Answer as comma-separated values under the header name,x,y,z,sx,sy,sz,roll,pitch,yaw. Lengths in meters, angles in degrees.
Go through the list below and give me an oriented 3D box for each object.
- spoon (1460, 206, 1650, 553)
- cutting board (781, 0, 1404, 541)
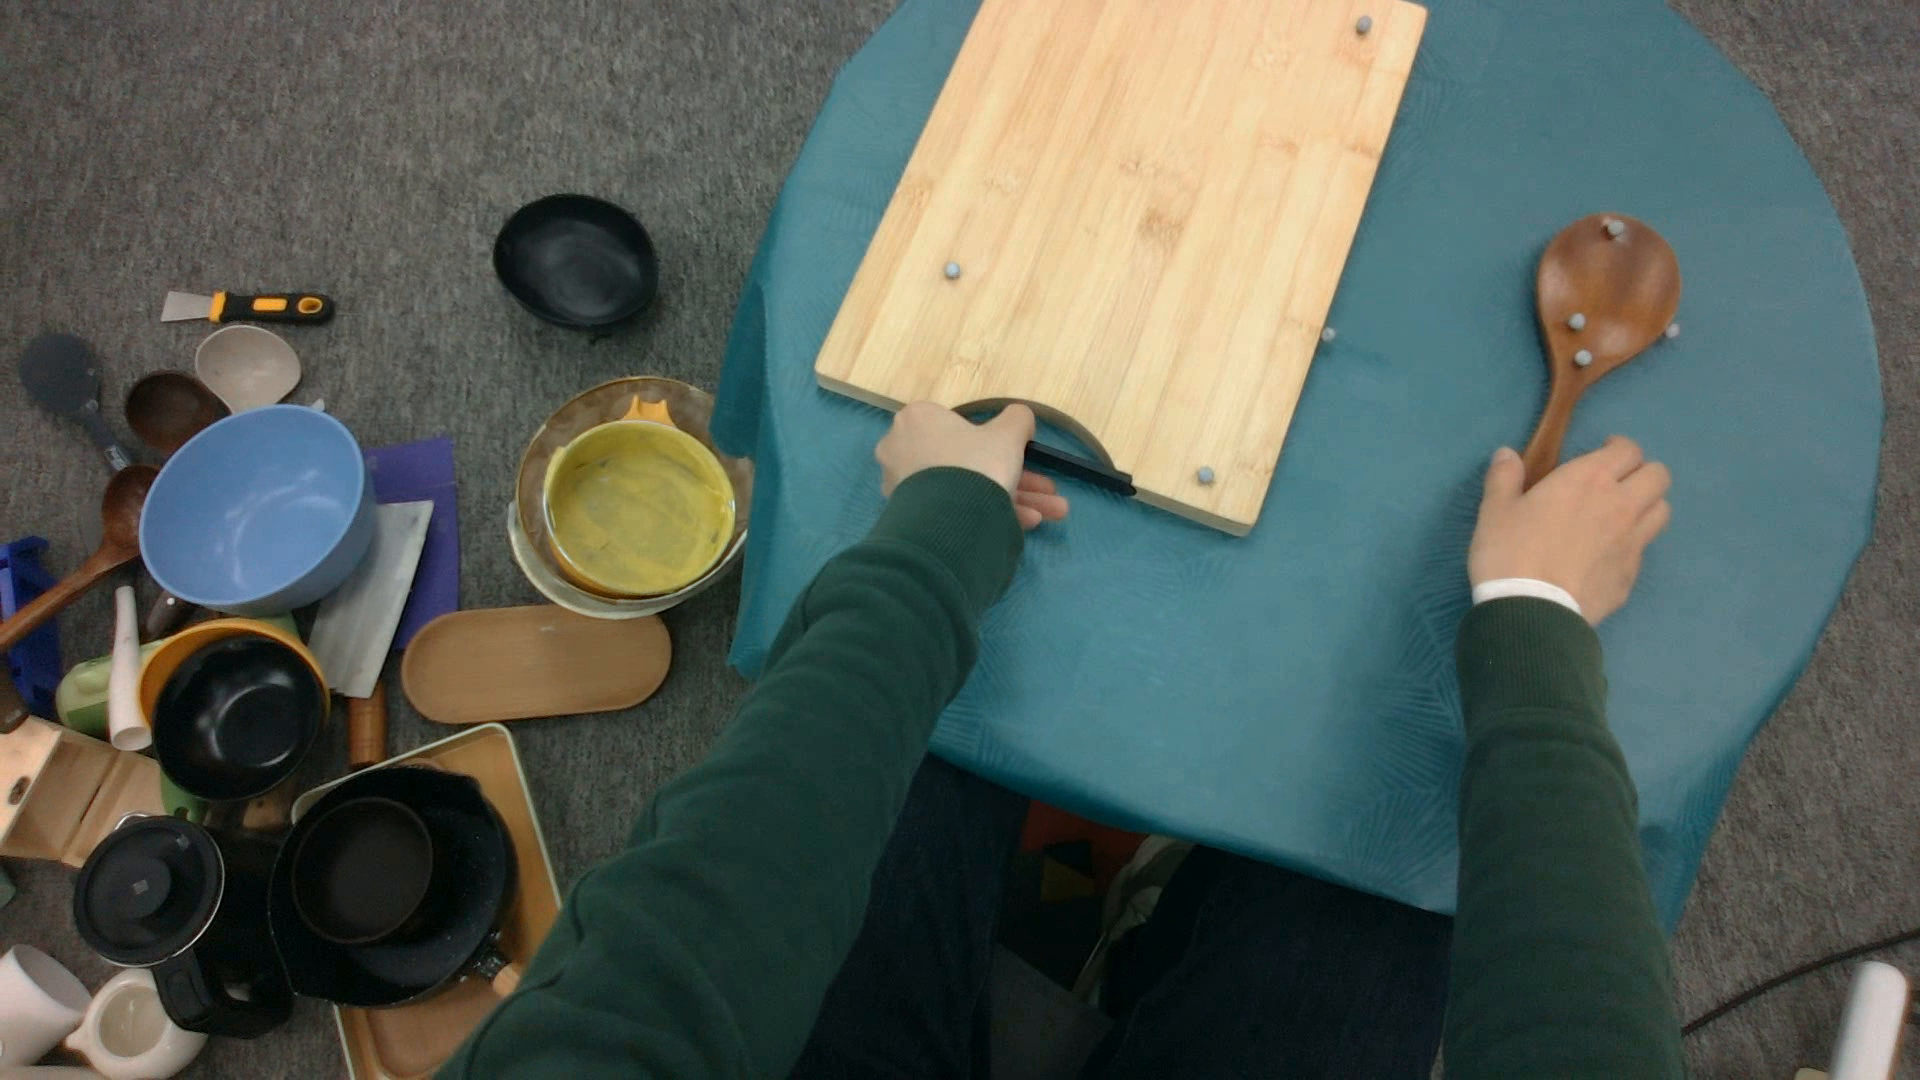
name,x,y,z,sx,sy,sz,roll,pitch,yaw
spoon,0.305,-0.086,0.723,0.075,0.017,0.216,25,71,6
cutting board,0.083,-0.192,0.758,0.250,0.023,0.350,19,70,6
